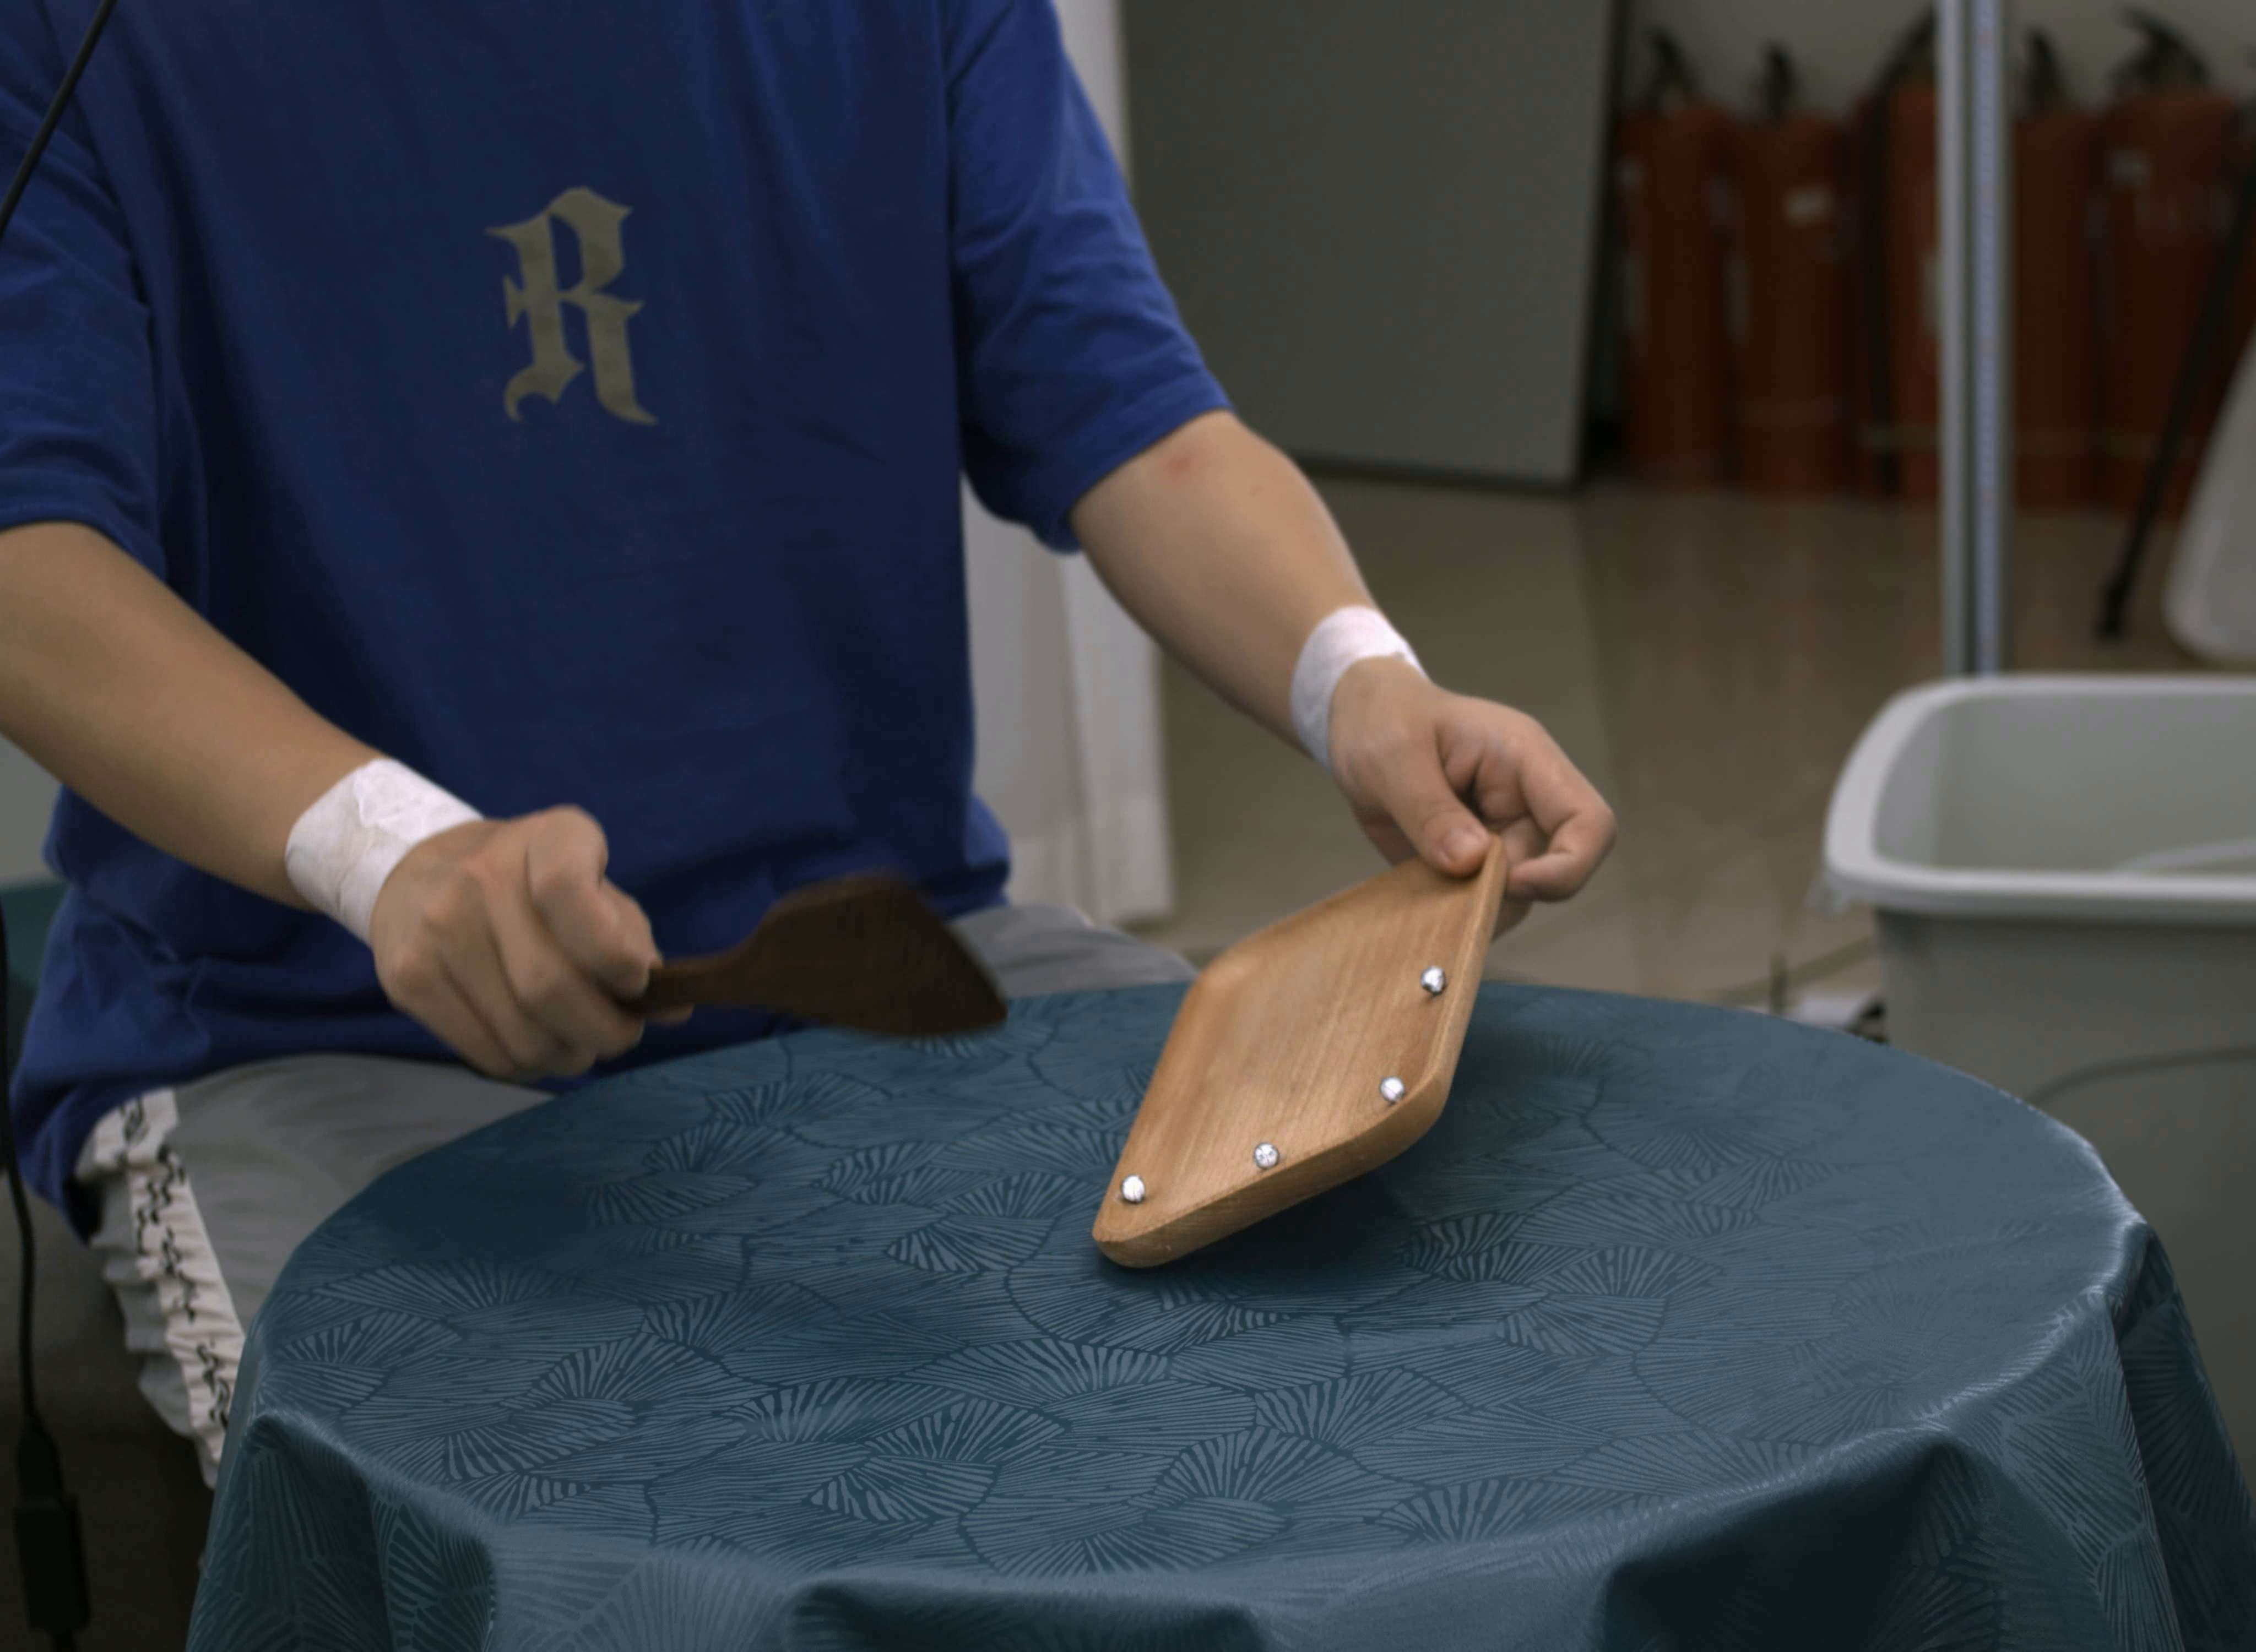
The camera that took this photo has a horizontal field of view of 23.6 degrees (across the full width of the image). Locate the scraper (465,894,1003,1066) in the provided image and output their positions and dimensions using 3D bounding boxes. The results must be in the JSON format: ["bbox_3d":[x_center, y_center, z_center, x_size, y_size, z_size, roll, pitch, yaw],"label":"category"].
[{"bbox_3d":[-0.133,0.056,1.722,0.213,0.075,0.011,-7,45,40],"label":"scraper"}]

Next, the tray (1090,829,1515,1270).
[{"bbox_3d":[0.062,0.072,1.776,0.131,0.023,0.249,-25,13,20],"label":"tray"}]
